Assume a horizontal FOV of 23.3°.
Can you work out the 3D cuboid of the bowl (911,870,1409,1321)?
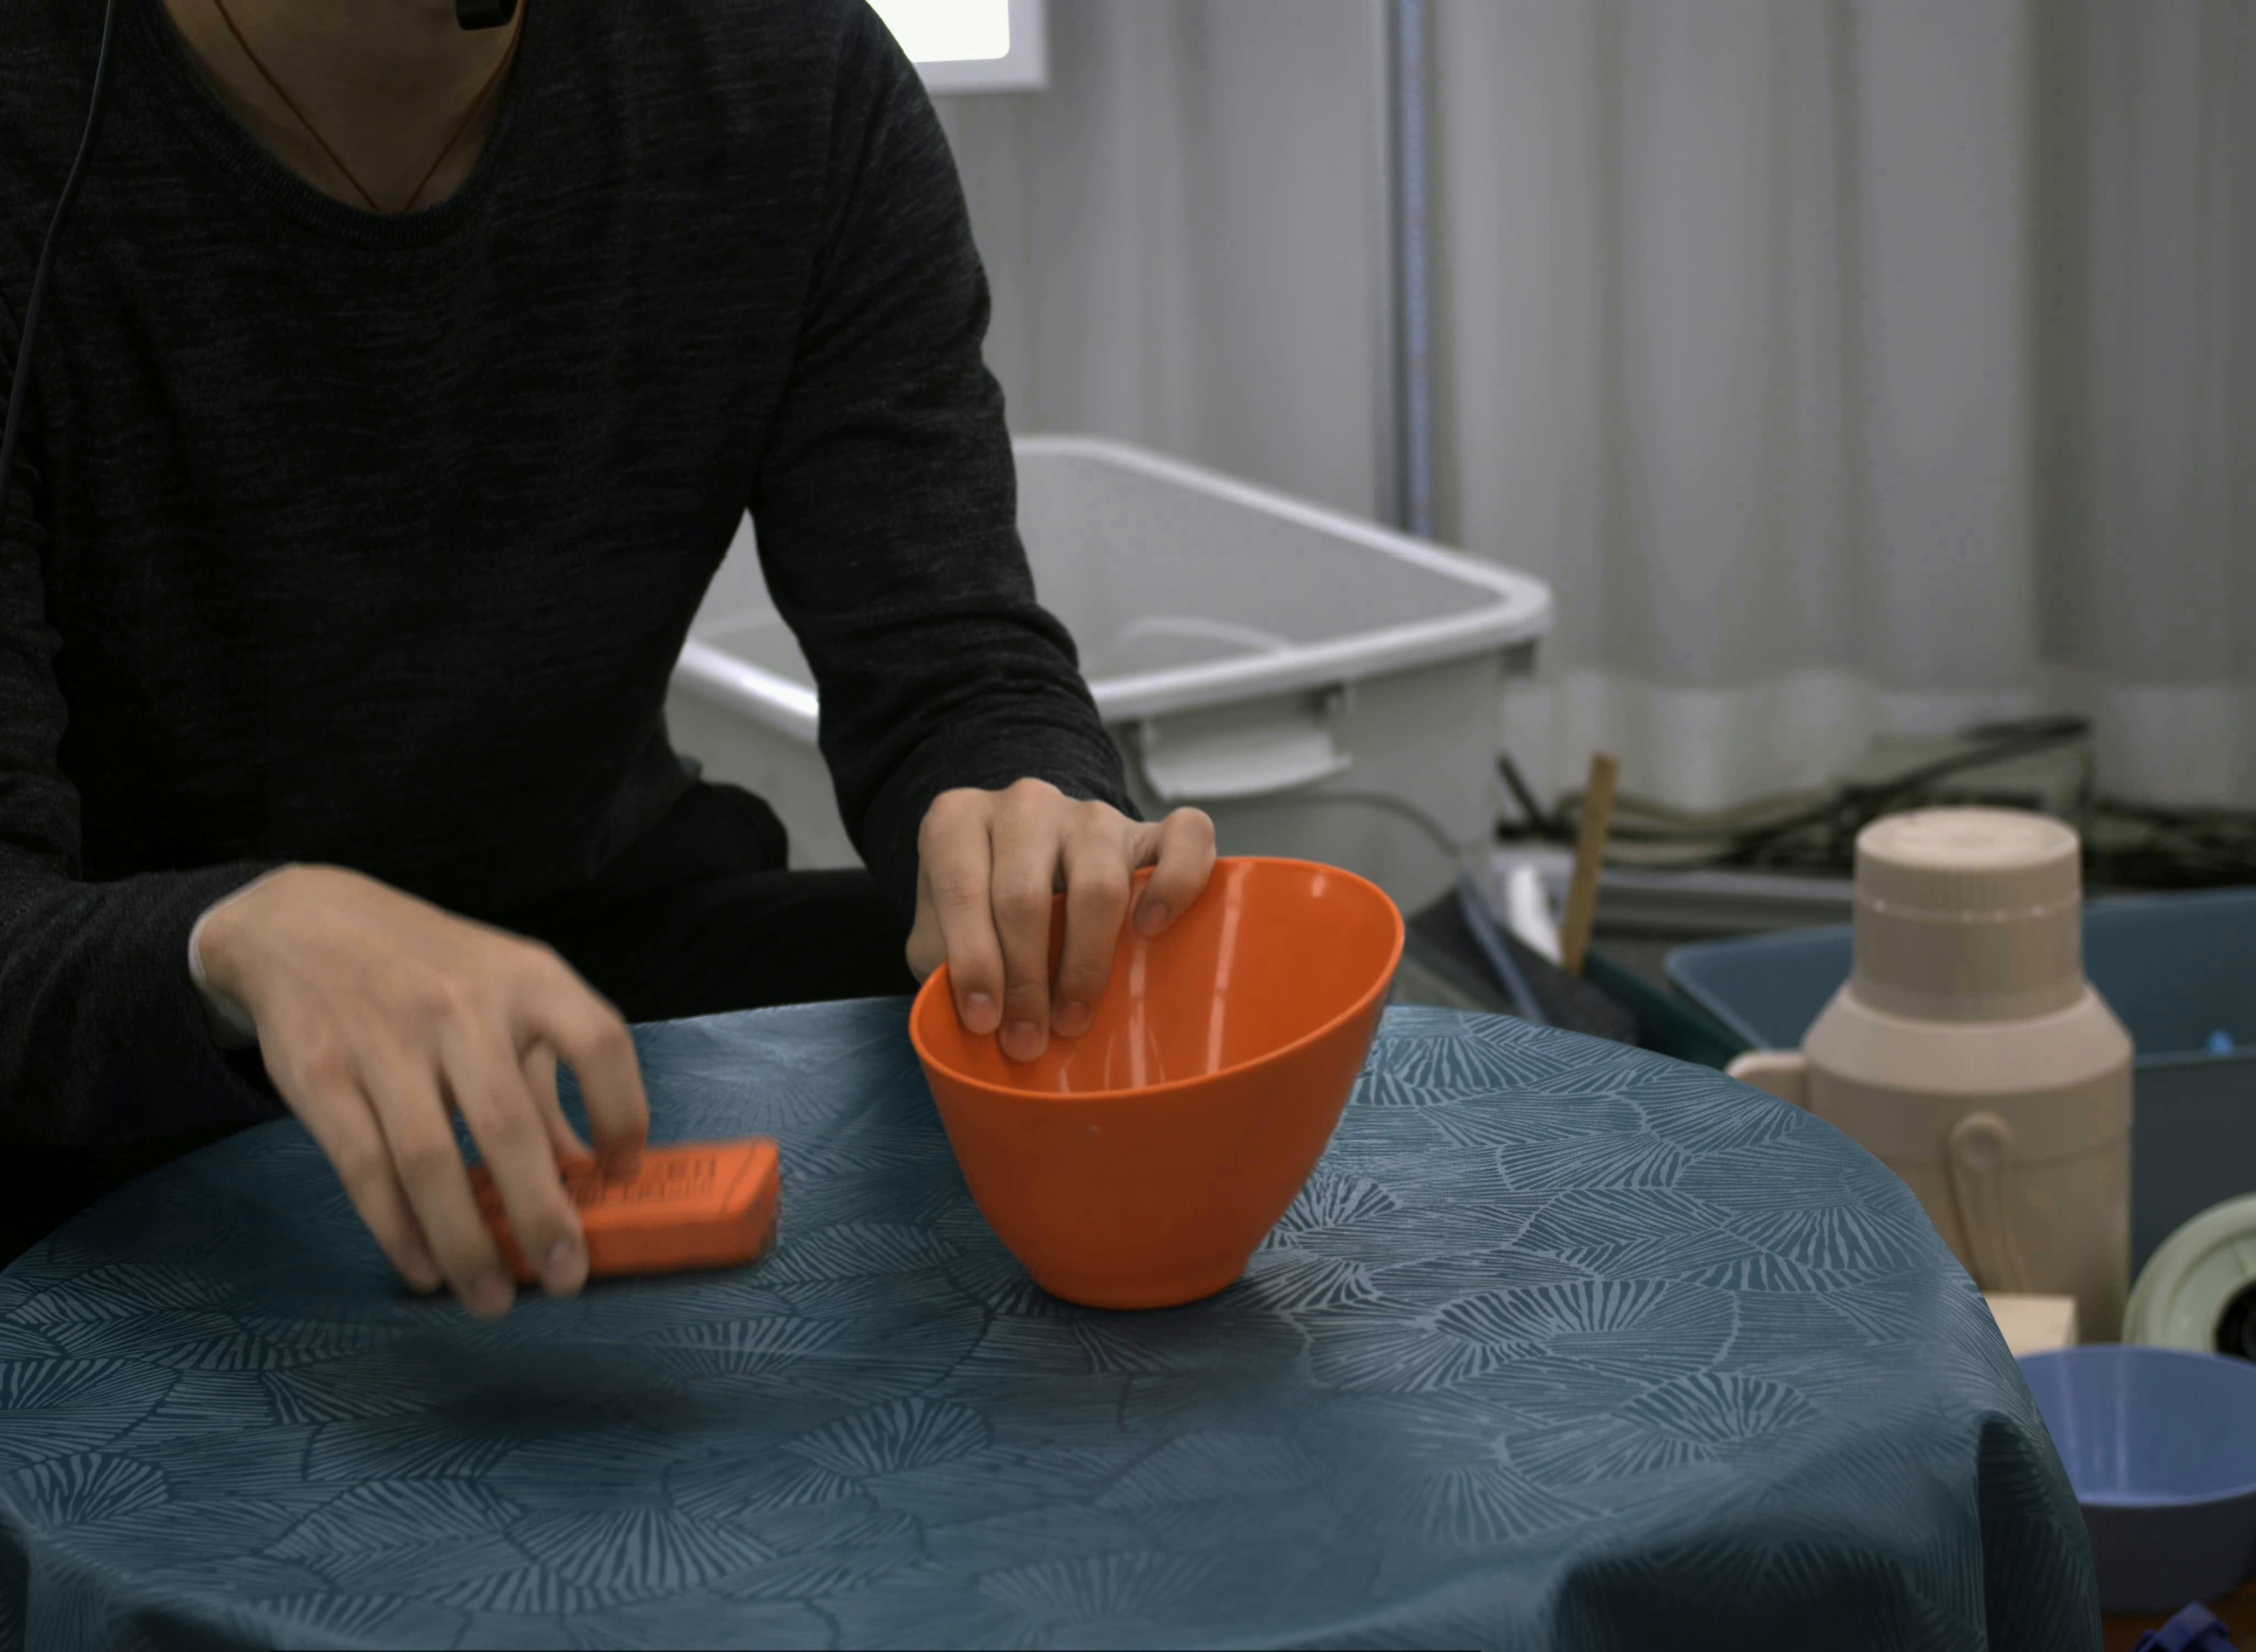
[{"bbox_3d":[0.011,0.084,1.620,0.147,0.104,0.149,-2,20,0],"label":"bowl"}]

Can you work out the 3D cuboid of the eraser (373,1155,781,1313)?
[{"bbox_3d":[-0.155,0.115,1.544,0.108,0.023,0.059,-3,18,10],"label":"eraser"}]
